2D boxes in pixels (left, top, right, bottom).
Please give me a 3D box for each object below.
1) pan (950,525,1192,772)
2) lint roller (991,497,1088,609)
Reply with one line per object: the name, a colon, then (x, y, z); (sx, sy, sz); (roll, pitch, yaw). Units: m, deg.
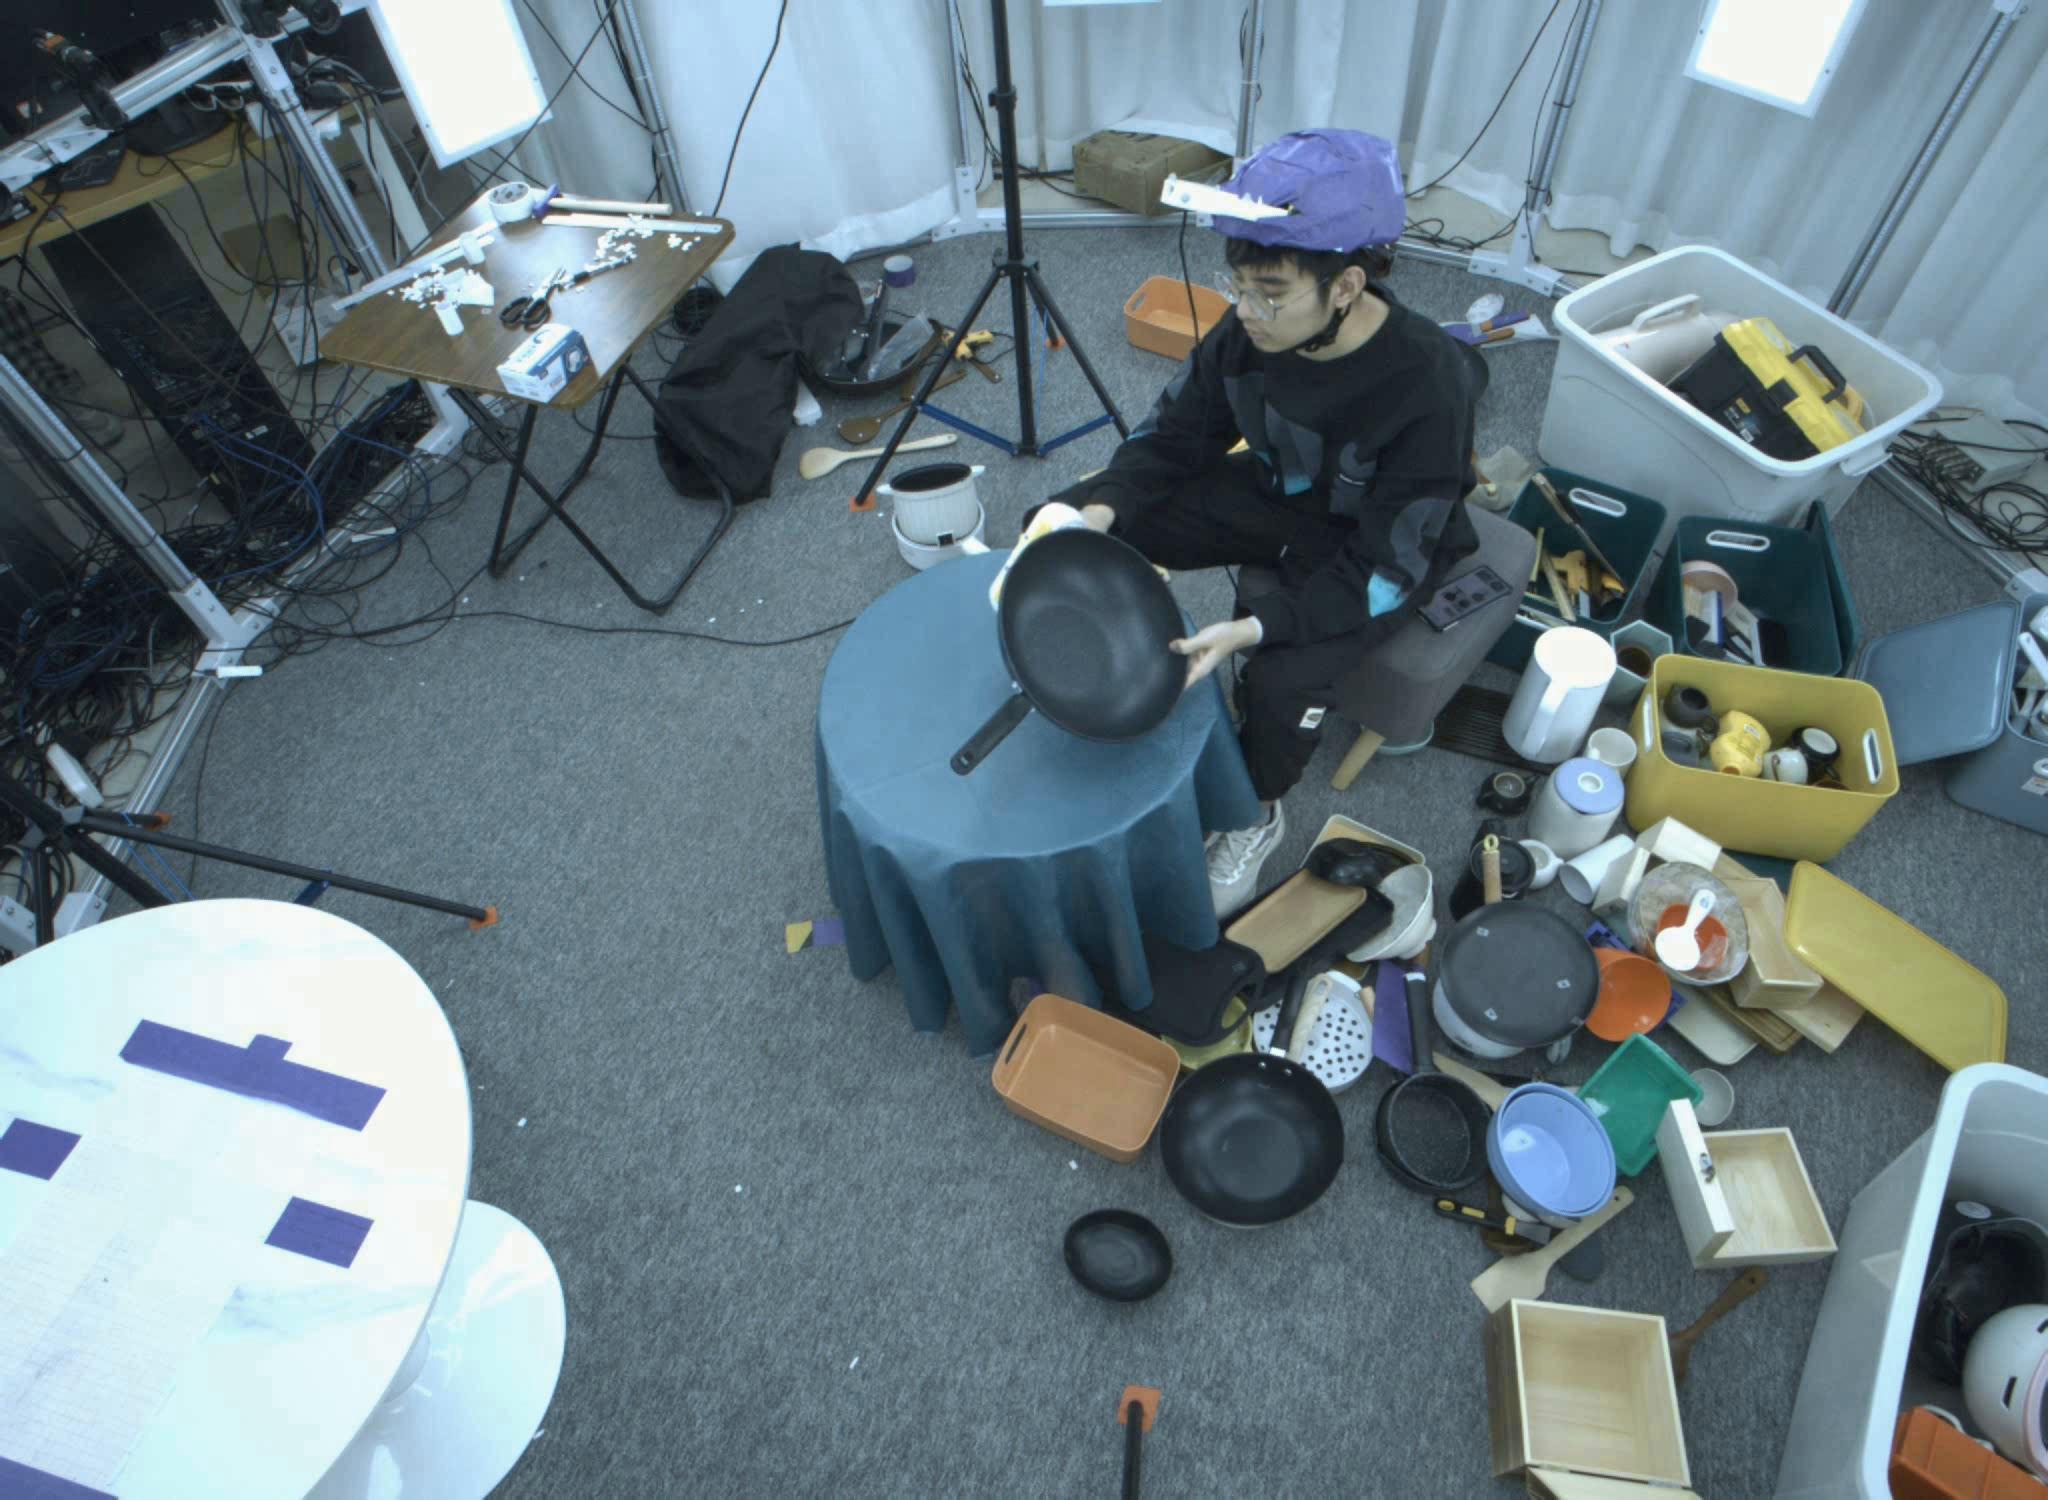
pan: (0.038, -0.107, 1.658); (0.312, 0.110, 0.480); (51, 57, -9)
lint roller: (0.045, -0.291, 1.805); (0.073, 0.192, 0.195); (41, 29, 19)
